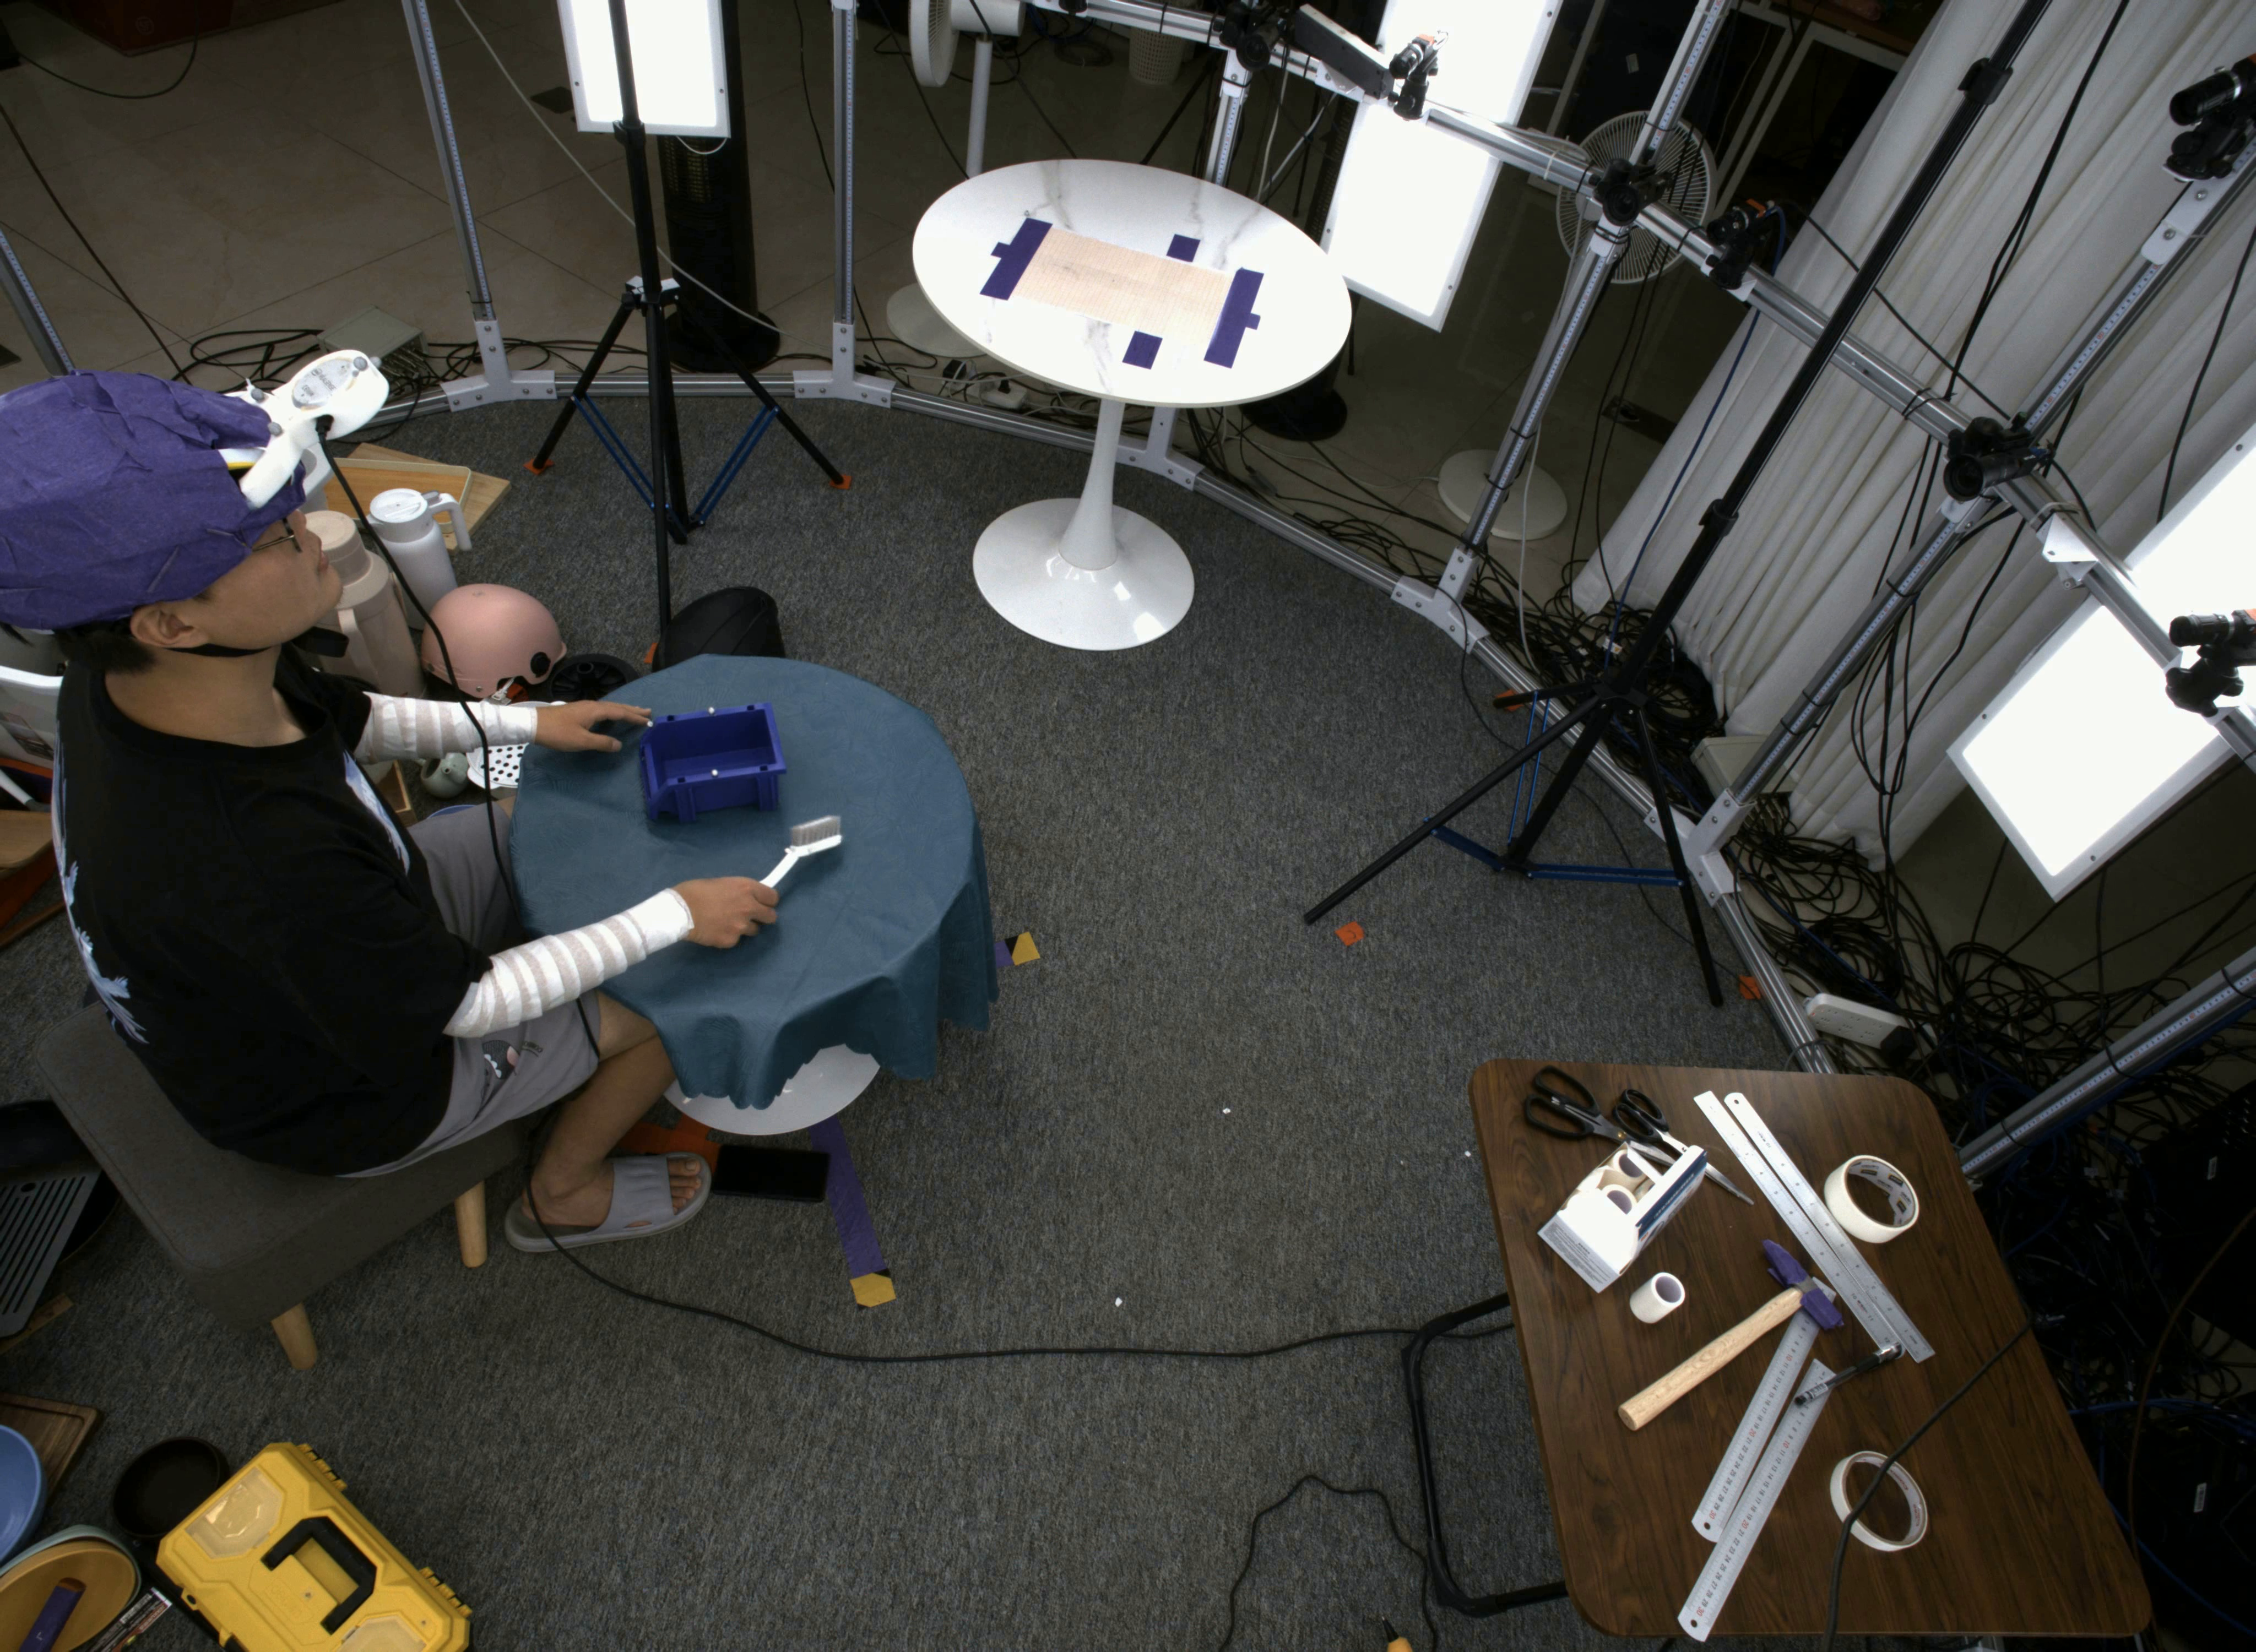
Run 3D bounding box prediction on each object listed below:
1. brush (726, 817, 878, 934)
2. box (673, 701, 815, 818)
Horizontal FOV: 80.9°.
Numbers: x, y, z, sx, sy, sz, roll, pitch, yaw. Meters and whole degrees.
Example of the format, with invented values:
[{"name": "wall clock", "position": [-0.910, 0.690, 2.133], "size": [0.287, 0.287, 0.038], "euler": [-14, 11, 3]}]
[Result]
[{"name": "brush", "position": [-0.415, 0.053, 1.646], "size": [0.033, 0.052, 0.244], "euler": [15, 39, 42]}, {"name": "box", "position": [-0.515, -0.087, 1.724], "size": [0.180, 0.083, 0.121], "euler": [-6, 56, -19]}]
